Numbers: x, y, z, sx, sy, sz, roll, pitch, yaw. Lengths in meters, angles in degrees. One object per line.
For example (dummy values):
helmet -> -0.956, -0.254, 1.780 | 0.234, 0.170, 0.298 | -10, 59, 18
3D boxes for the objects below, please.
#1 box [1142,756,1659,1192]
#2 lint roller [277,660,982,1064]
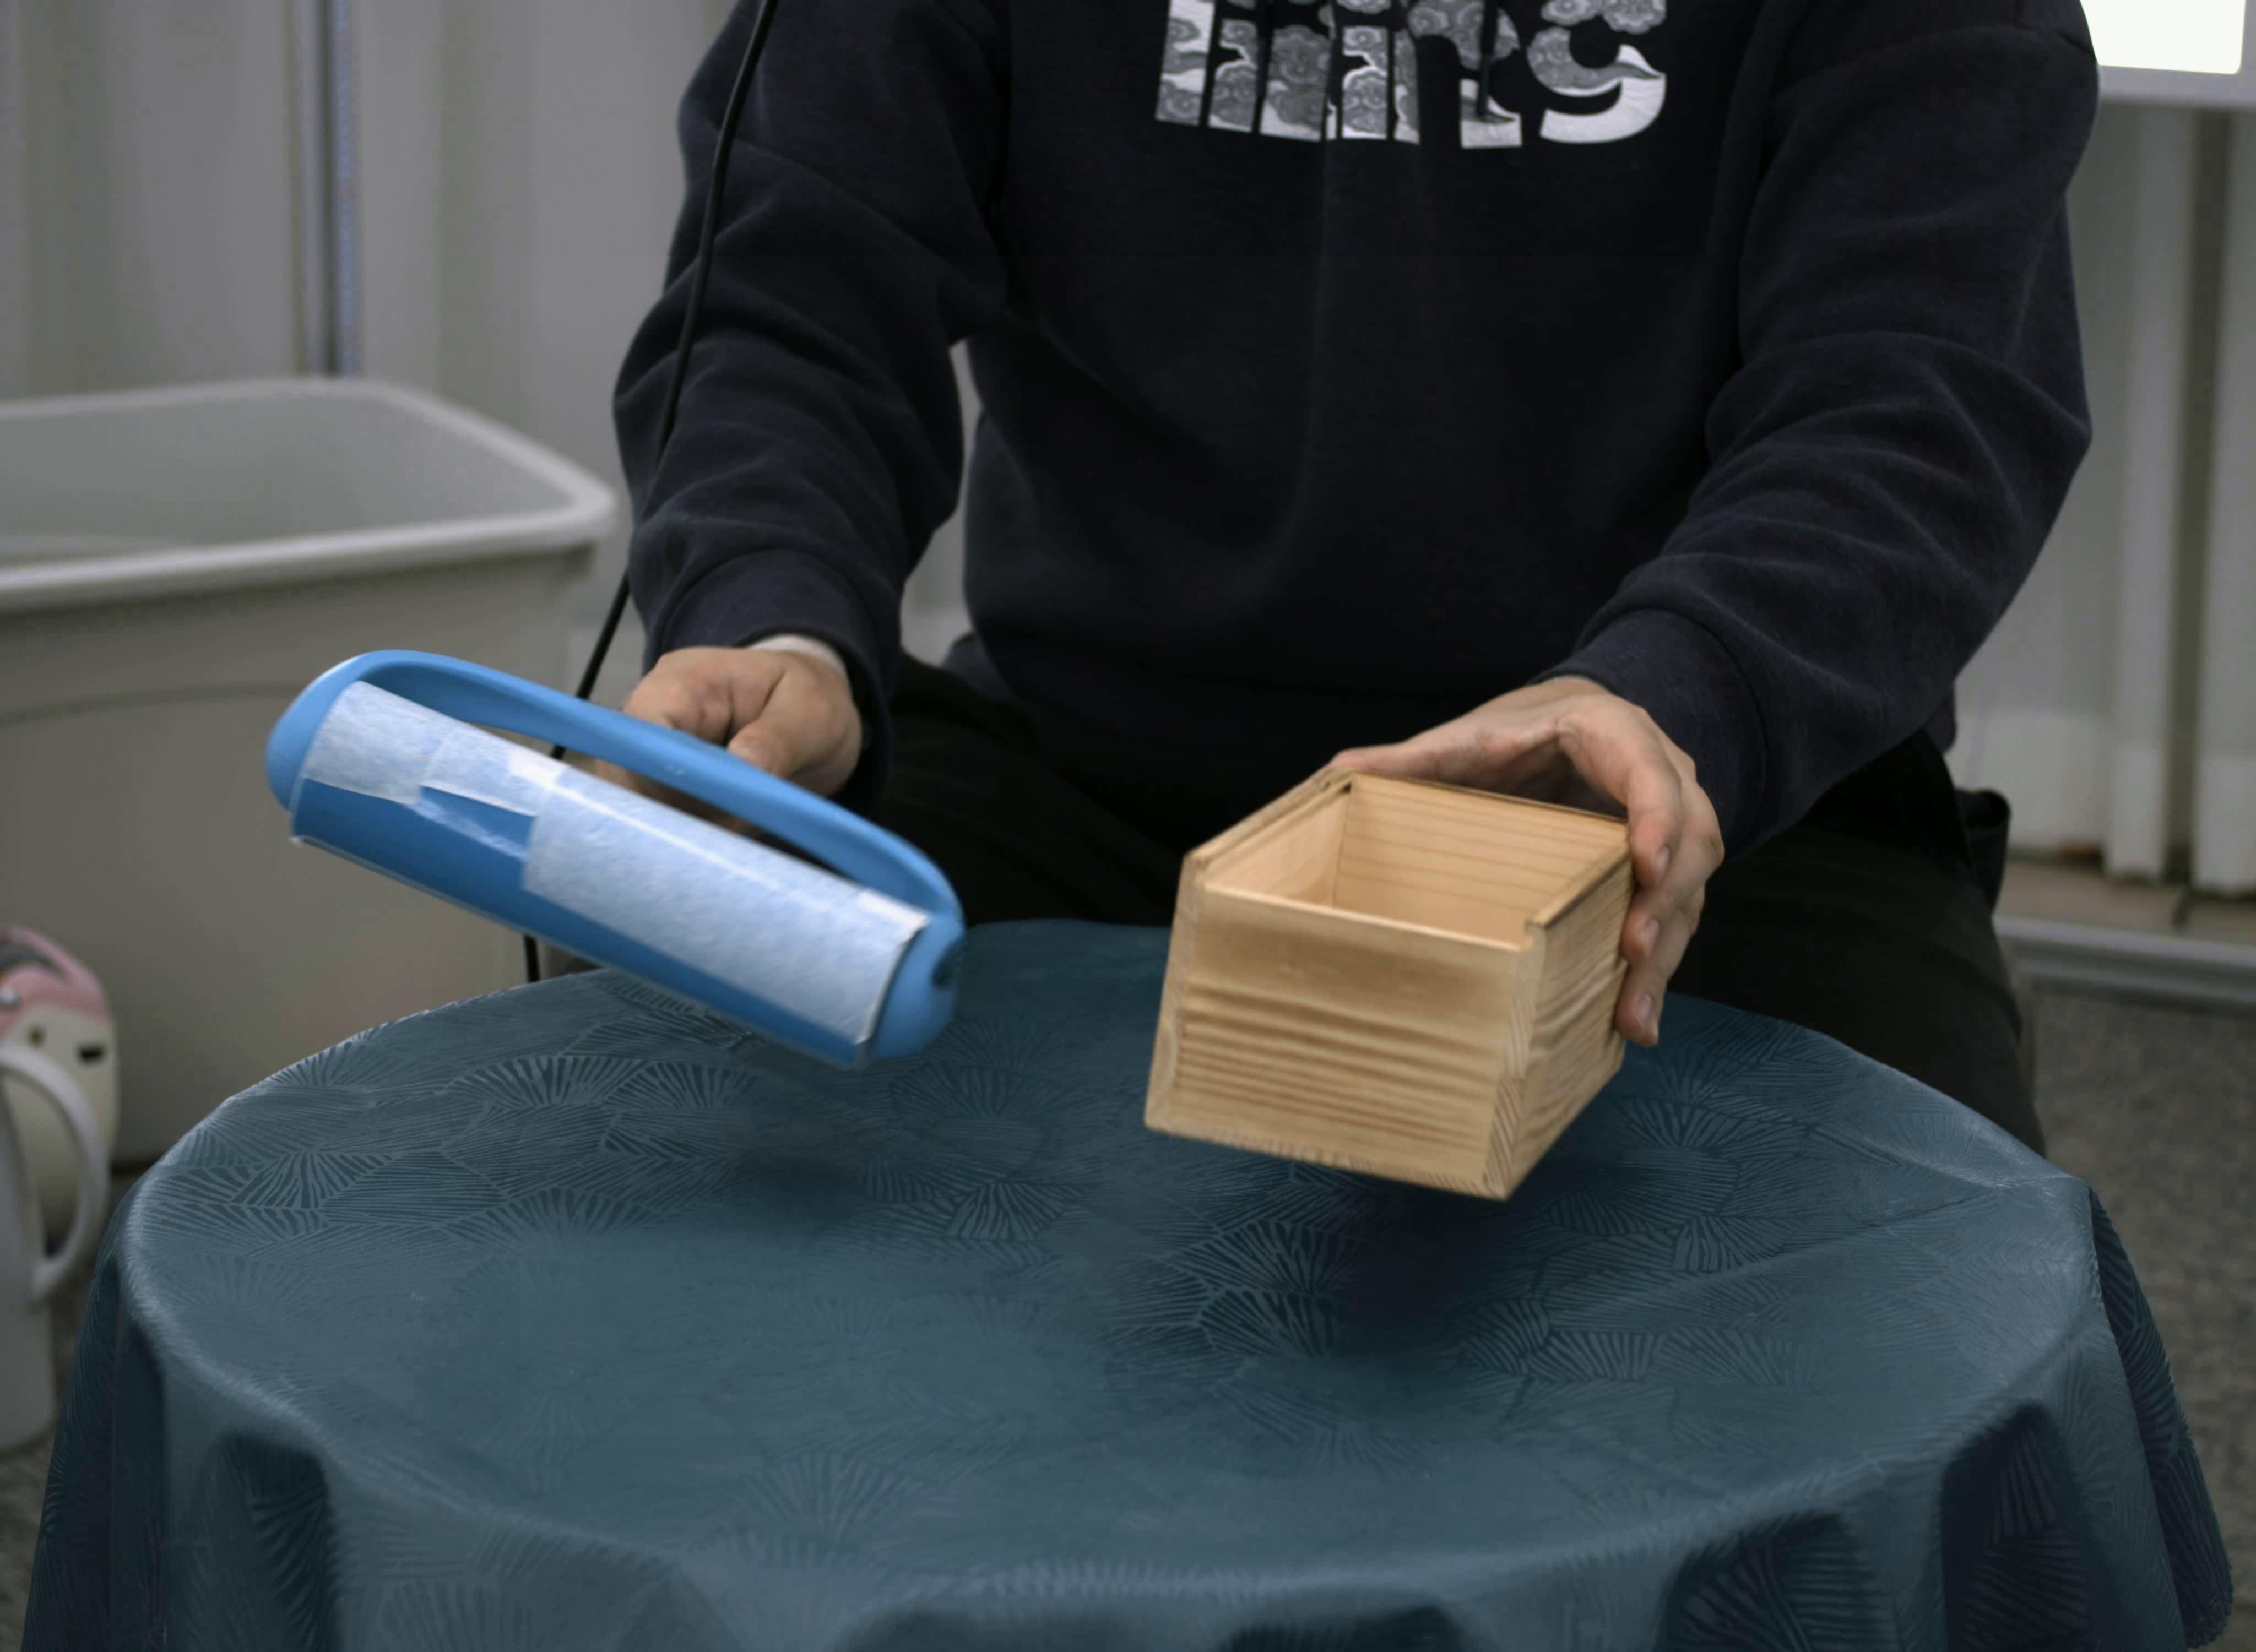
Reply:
box -> 0.085, 0.040, 1.562 | 0.107, 0.080, 0.211 | 11, 10, 12
lint roller -> -0.146, 0.000, 1.681 | 0.228, 0.068, 0.180 | 19, 17, 3
